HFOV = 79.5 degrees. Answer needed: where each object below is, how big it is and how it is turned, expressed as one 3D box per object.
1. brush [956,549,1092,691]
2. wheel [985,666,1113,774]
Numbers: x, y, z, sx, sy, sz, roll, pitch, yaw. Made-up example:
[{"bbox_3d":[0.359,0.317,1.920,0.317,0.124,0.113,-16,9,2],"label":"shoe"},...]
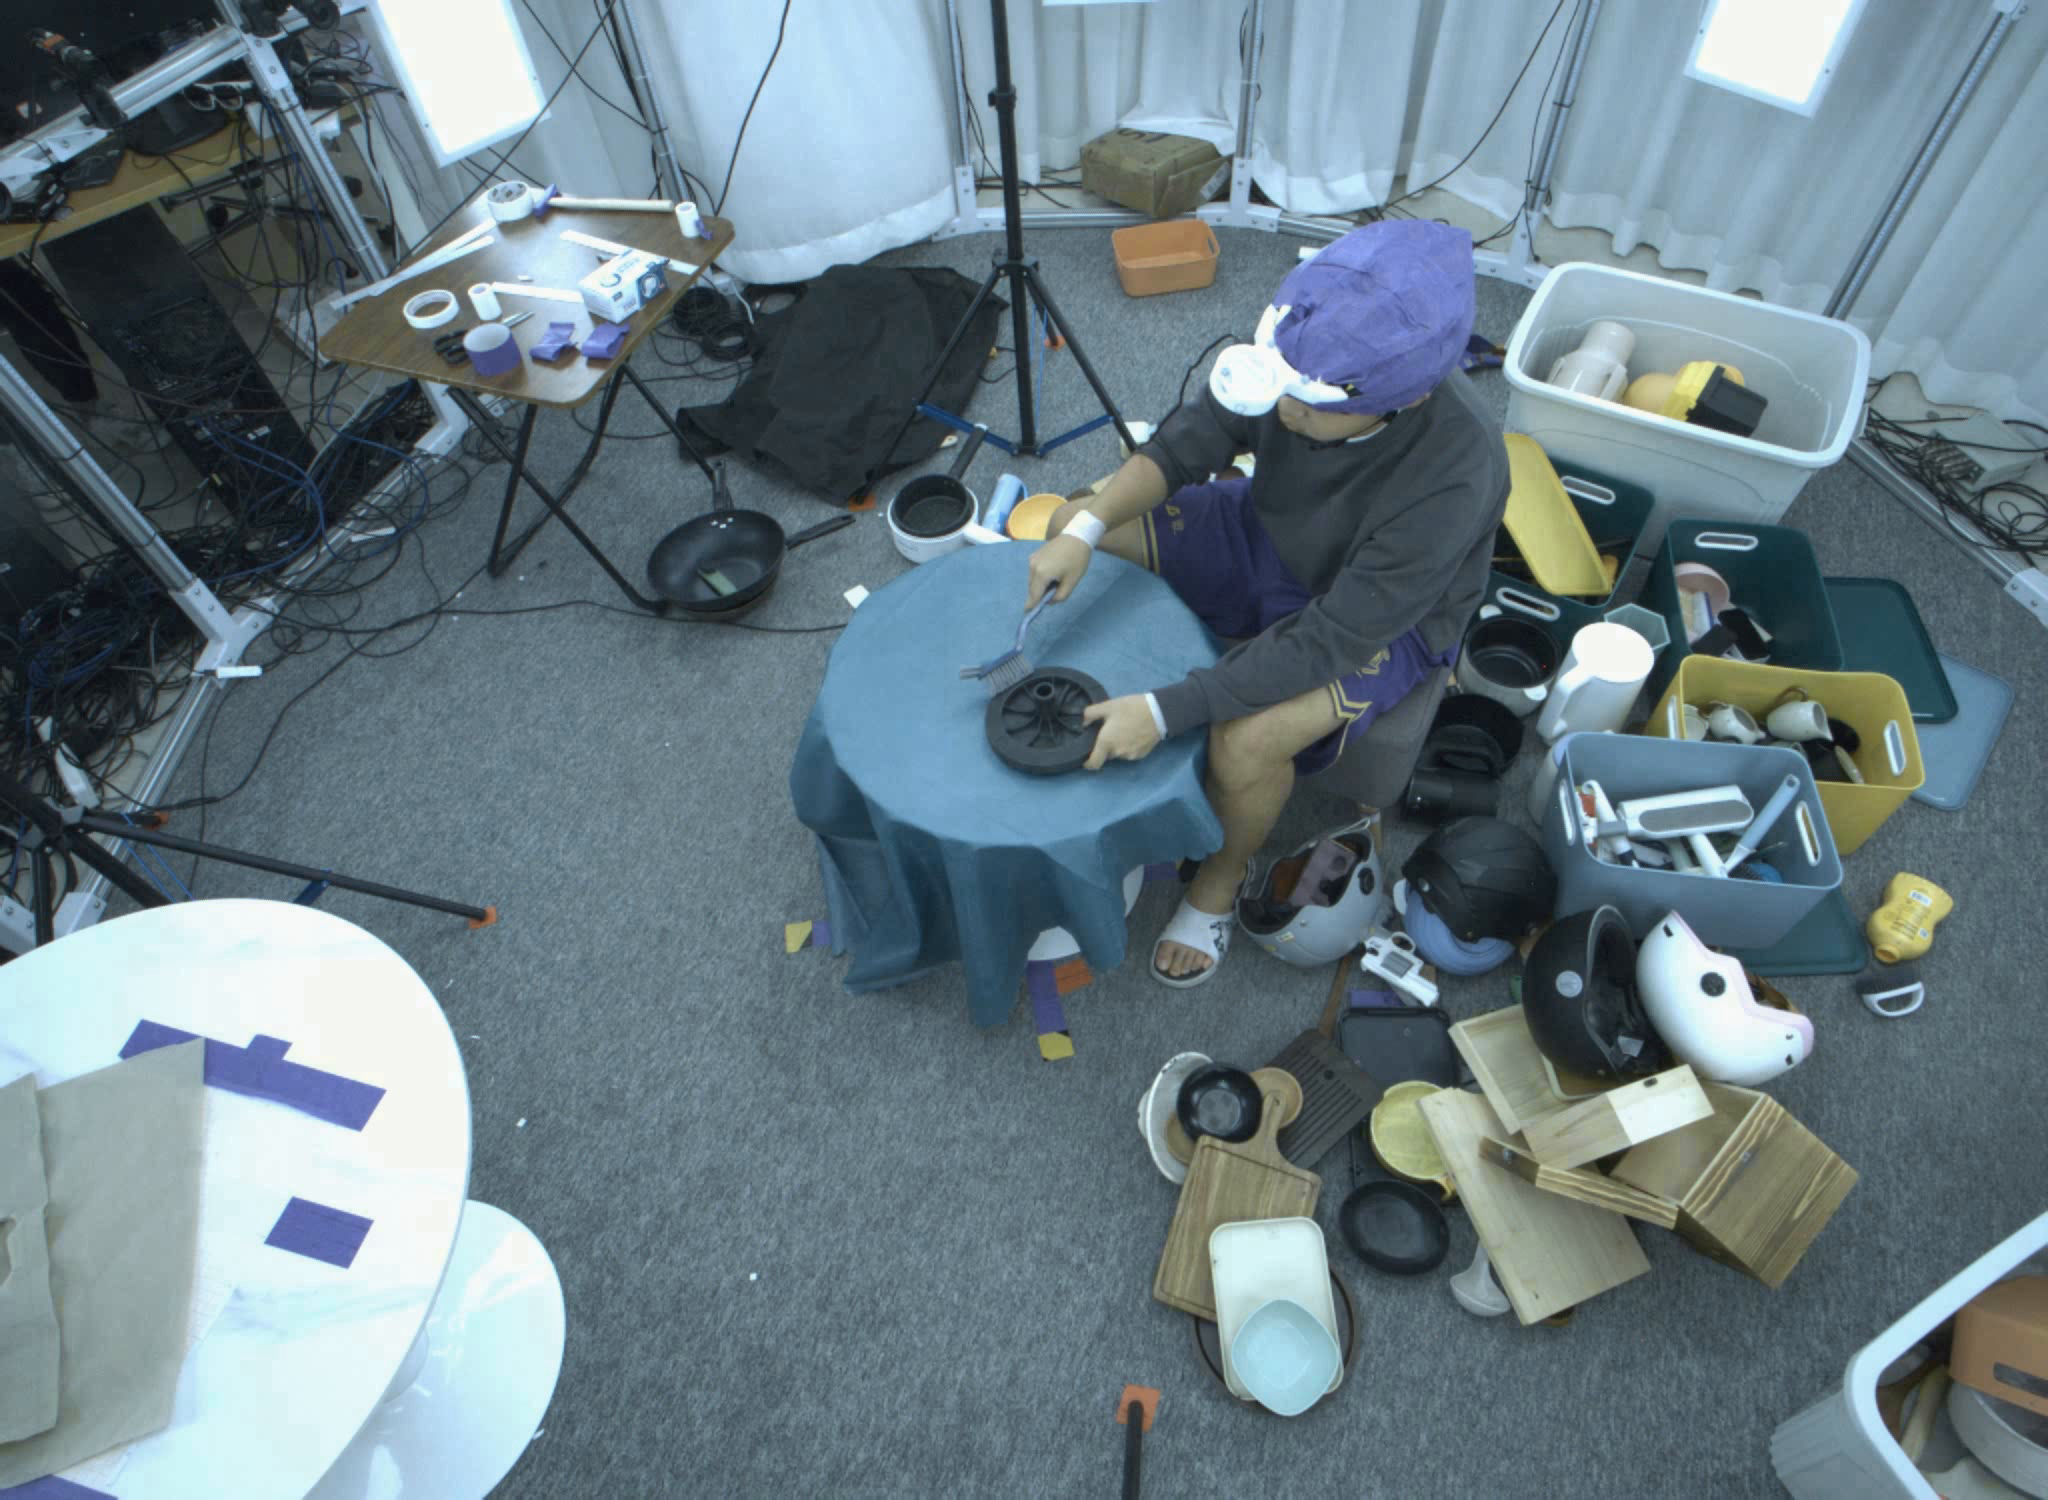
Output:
[{"bbox_3d":[0.006,-0.206,1.846,0.096,0.033,0.273,32,74,-1],"label":"brush"},{"bbox_3d":[0.034,-0.058,1.783,0.186,0.080,0.188,0,53,7],"label":"wheel"}]
